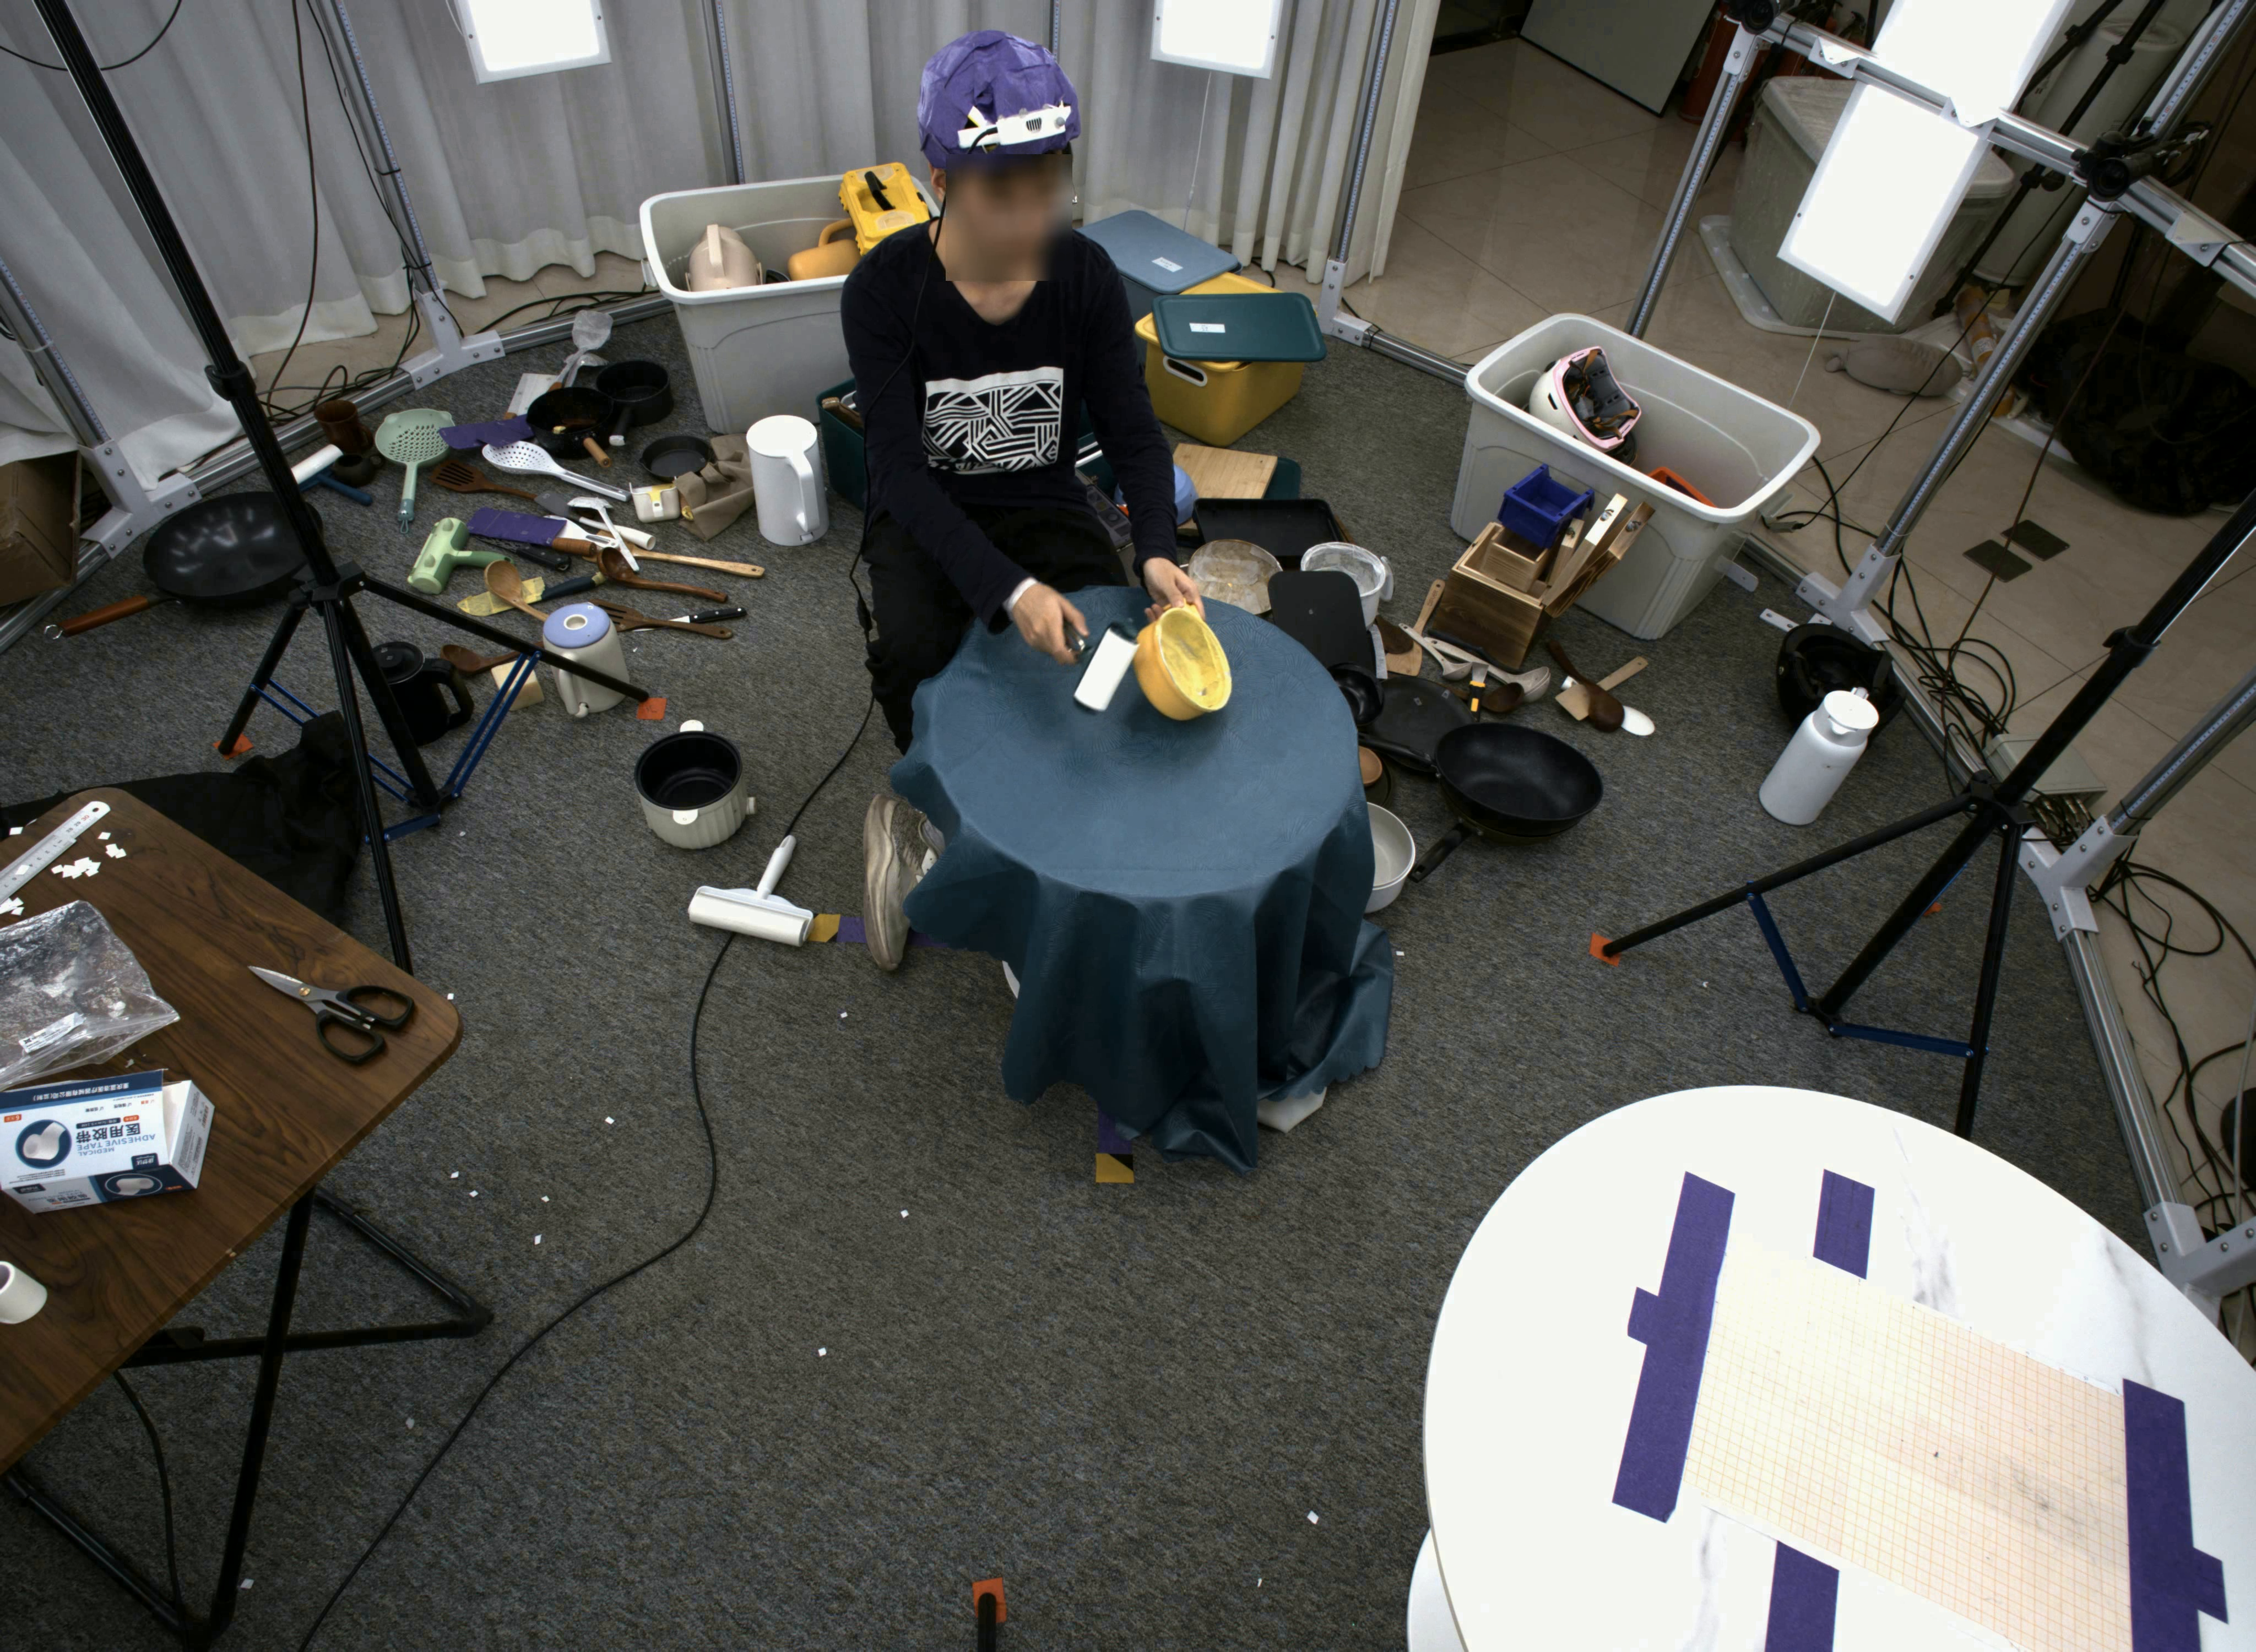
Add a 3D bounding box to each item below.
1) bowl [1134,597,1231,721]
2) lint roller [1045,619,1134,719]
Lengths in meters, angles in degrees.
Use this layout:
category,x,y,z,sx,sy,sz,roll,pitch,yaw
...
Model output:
category,x,y,z,sx,sy,sz,roll,pitch,yaw
bowl,0.071,-0.232,1.787,0.151,0.074,0.183,17,57,-42
lint roller,-0.073,-0.239,1.747,0.048,0.133,0.183,9,25,-48
